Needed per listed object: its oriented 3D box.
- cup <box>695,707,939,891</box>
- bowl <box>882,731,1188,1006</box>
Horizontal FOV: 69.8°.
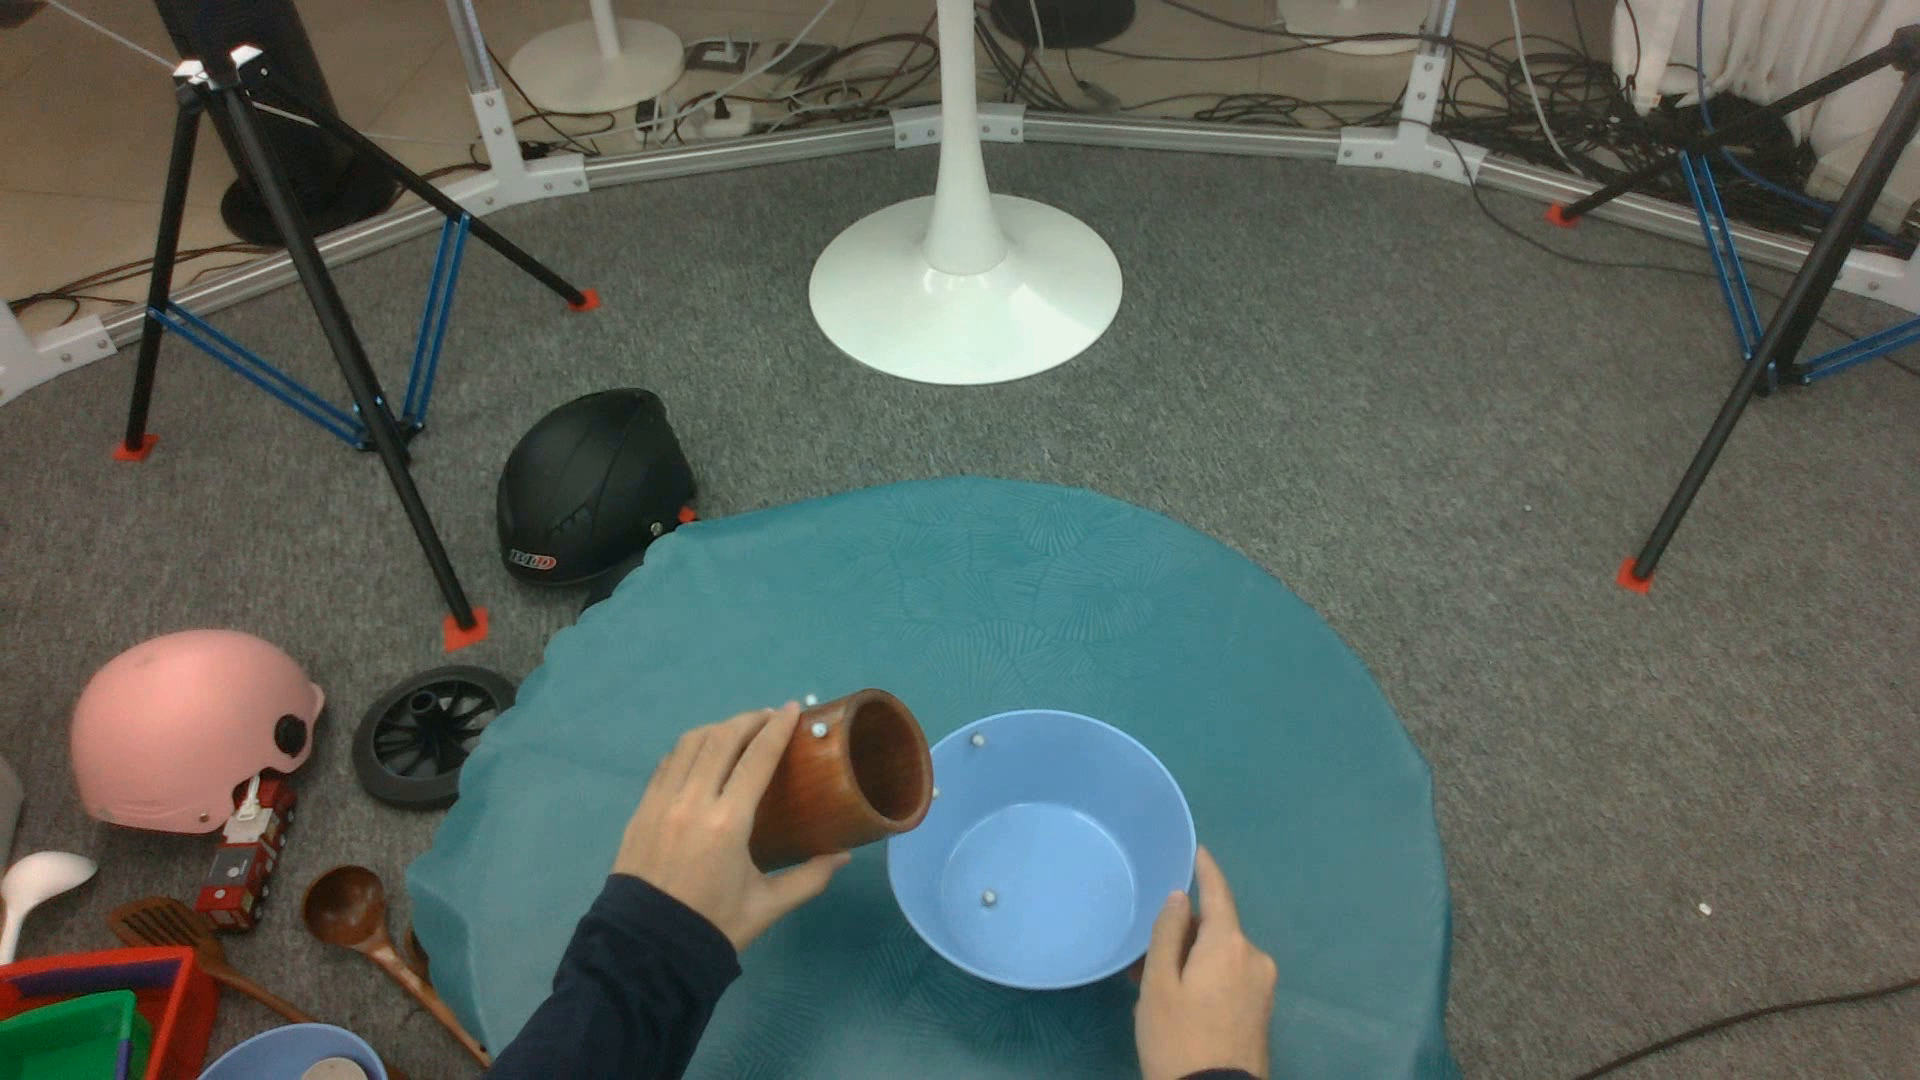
[{"bbox_3d":[-0.080,0.148,0.779,0.118,0.087,0.088,-22,35,33],"label":"cup"},{"bbox_3d":[0.044,0.204,0.811,0.176,0.070,0.177,-1,47,2],"label":"bowl"}]
